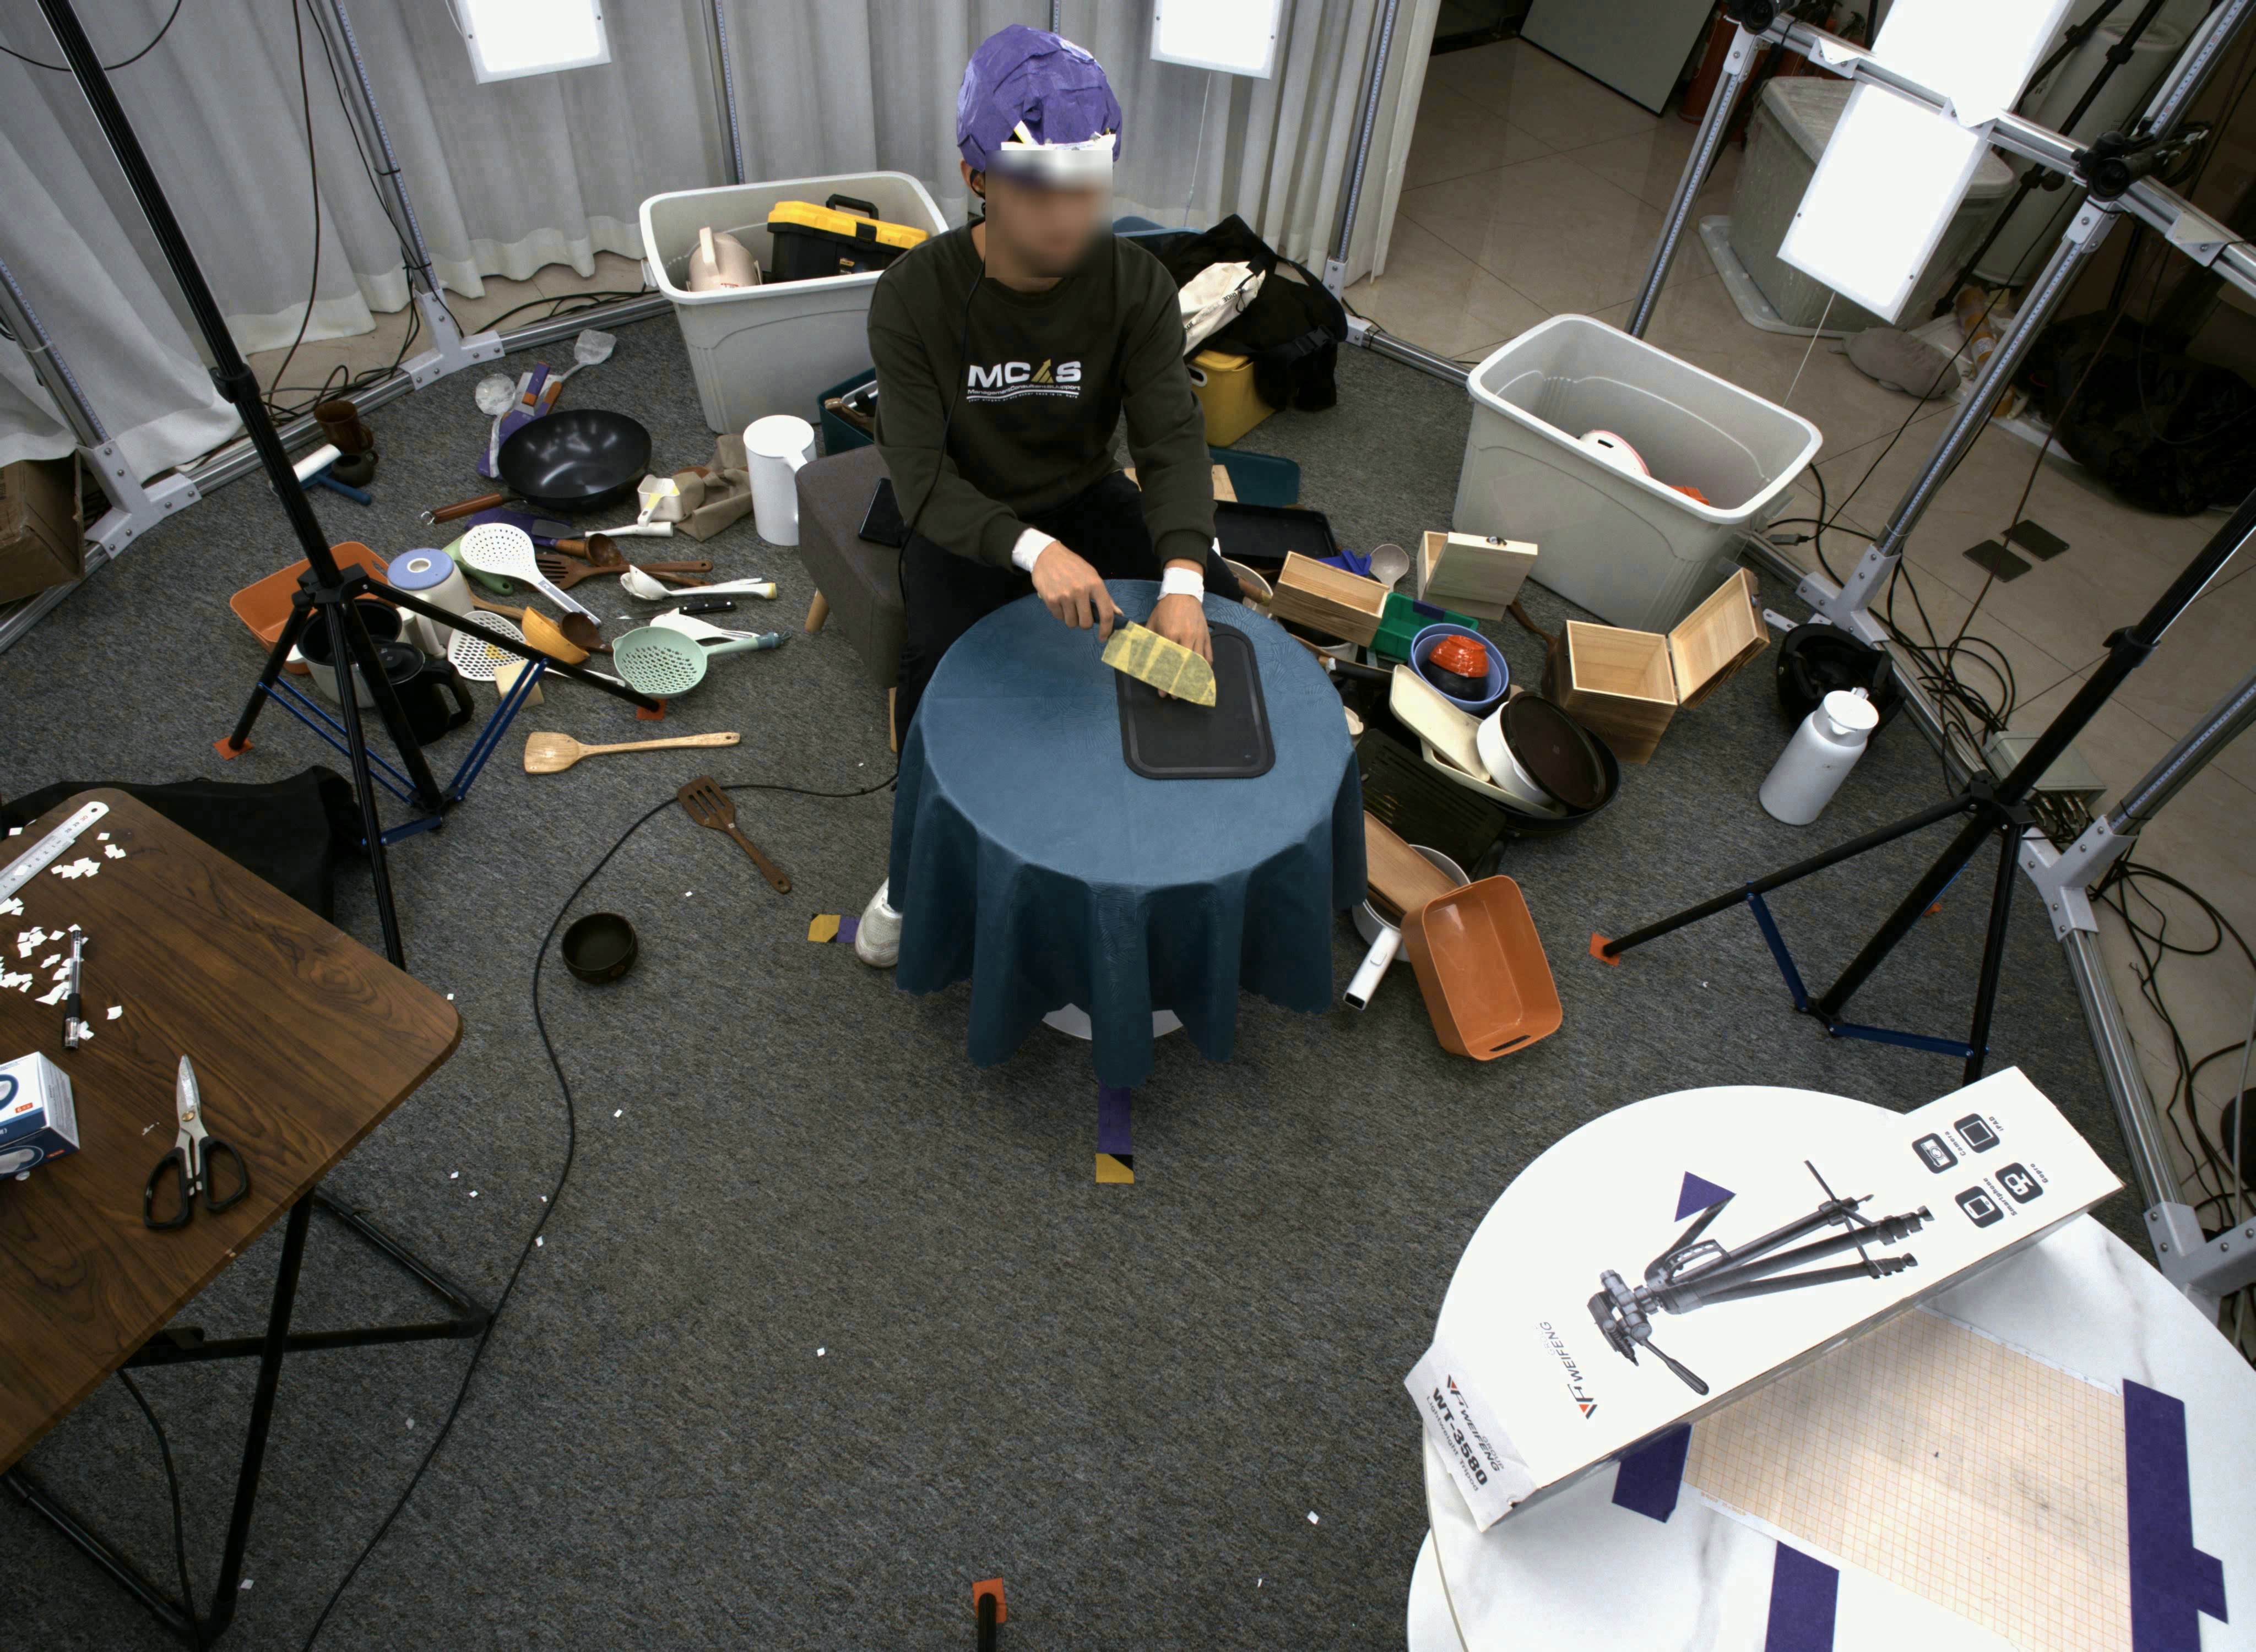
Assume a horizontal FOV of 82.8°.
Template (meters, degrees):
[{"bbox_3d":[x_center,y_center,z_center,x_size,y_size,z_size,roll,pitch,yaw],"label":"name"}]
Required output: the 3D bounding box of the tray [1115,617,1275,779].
[{"bbox_3d":[0.090,-0.191,1.834,0.211,0.009,0.333,-1,49,-5],"label":"tray"}]

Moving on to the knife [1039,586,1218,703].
[{"bbox_3d":[-0.001,-0.253,1.801,0.290,0.080,0.027,29,26,3],"label":"knife"}]
